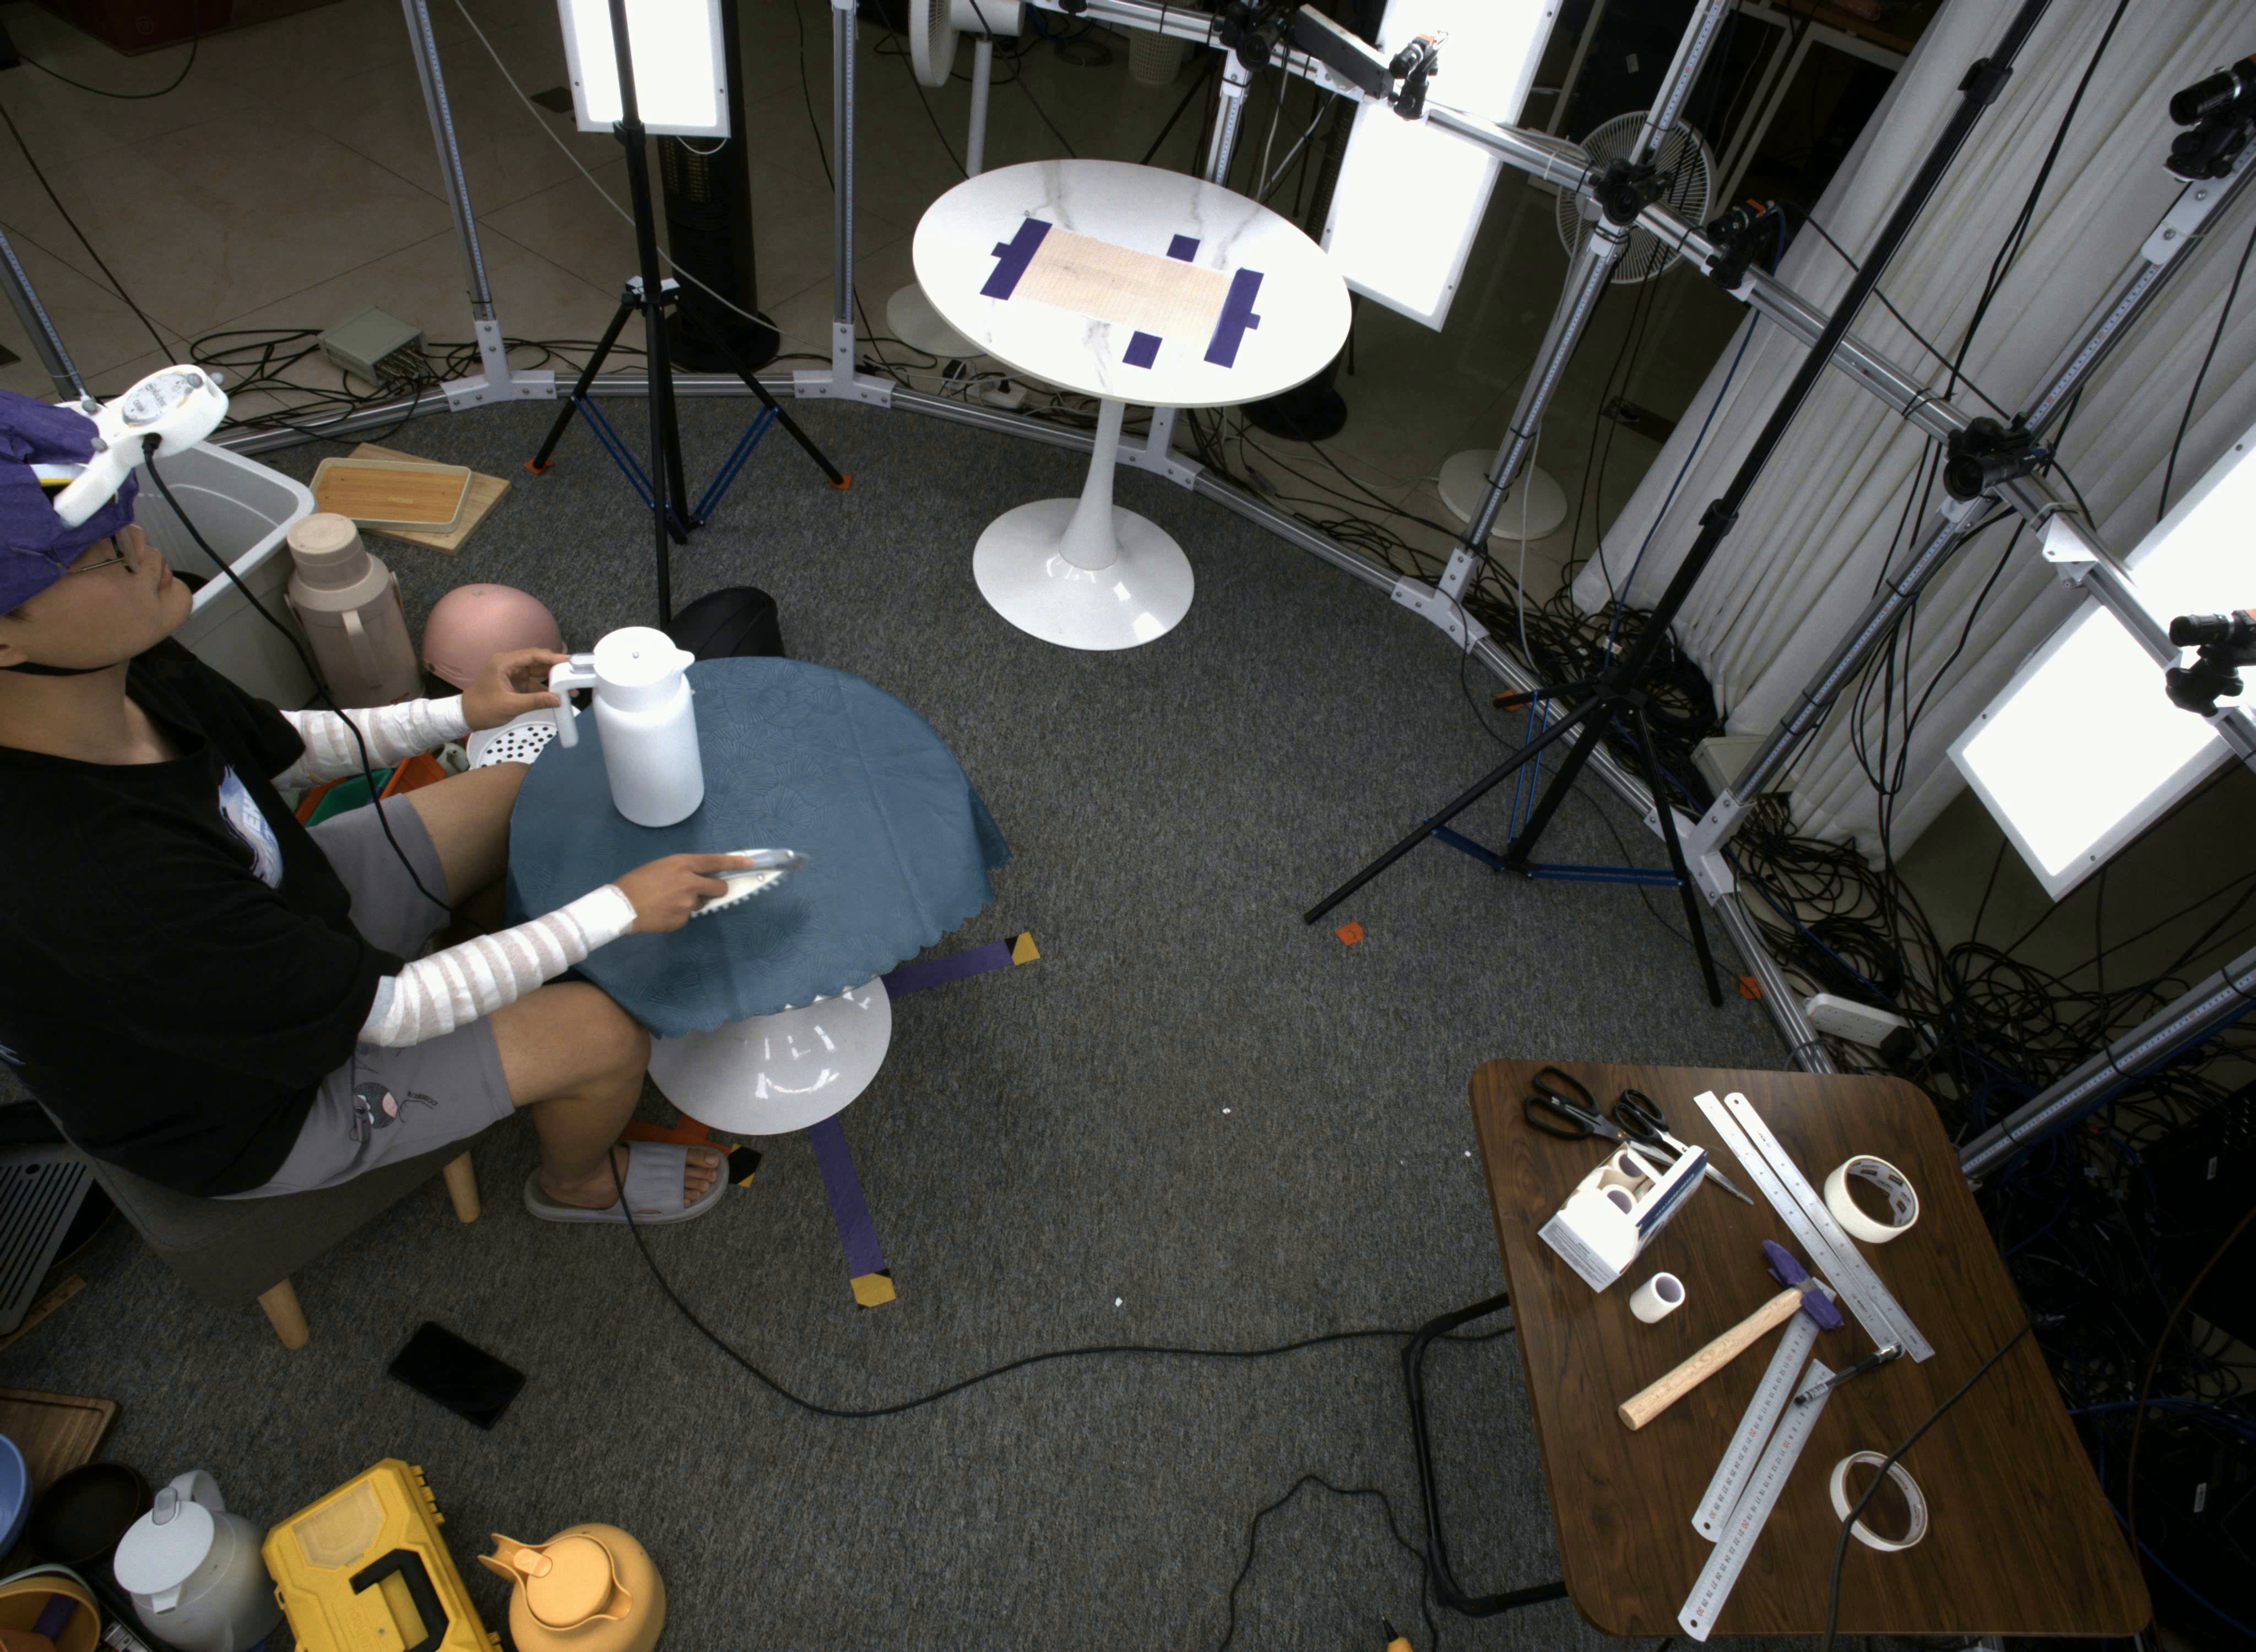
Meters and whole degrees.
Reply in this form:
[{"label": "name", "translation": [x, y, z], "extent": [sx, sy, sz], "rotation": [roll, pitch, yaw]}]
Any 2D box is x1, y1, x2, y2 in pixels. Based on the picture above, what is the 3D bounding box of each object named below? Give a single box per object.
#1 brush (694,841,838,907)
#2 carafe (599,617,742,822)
[{"label": "brush", "translation": [-0.449, 0.047, 1.593], "extent": [0.174, 0.094, 0.062], "rotation": [-18, 84, -2]}, {"label": "carafe", "translation": [-0.575, -0.129, 1.621], "extent": [0.173, 0.274, 0.121], "rotation": [-7, 56, -16]}]
